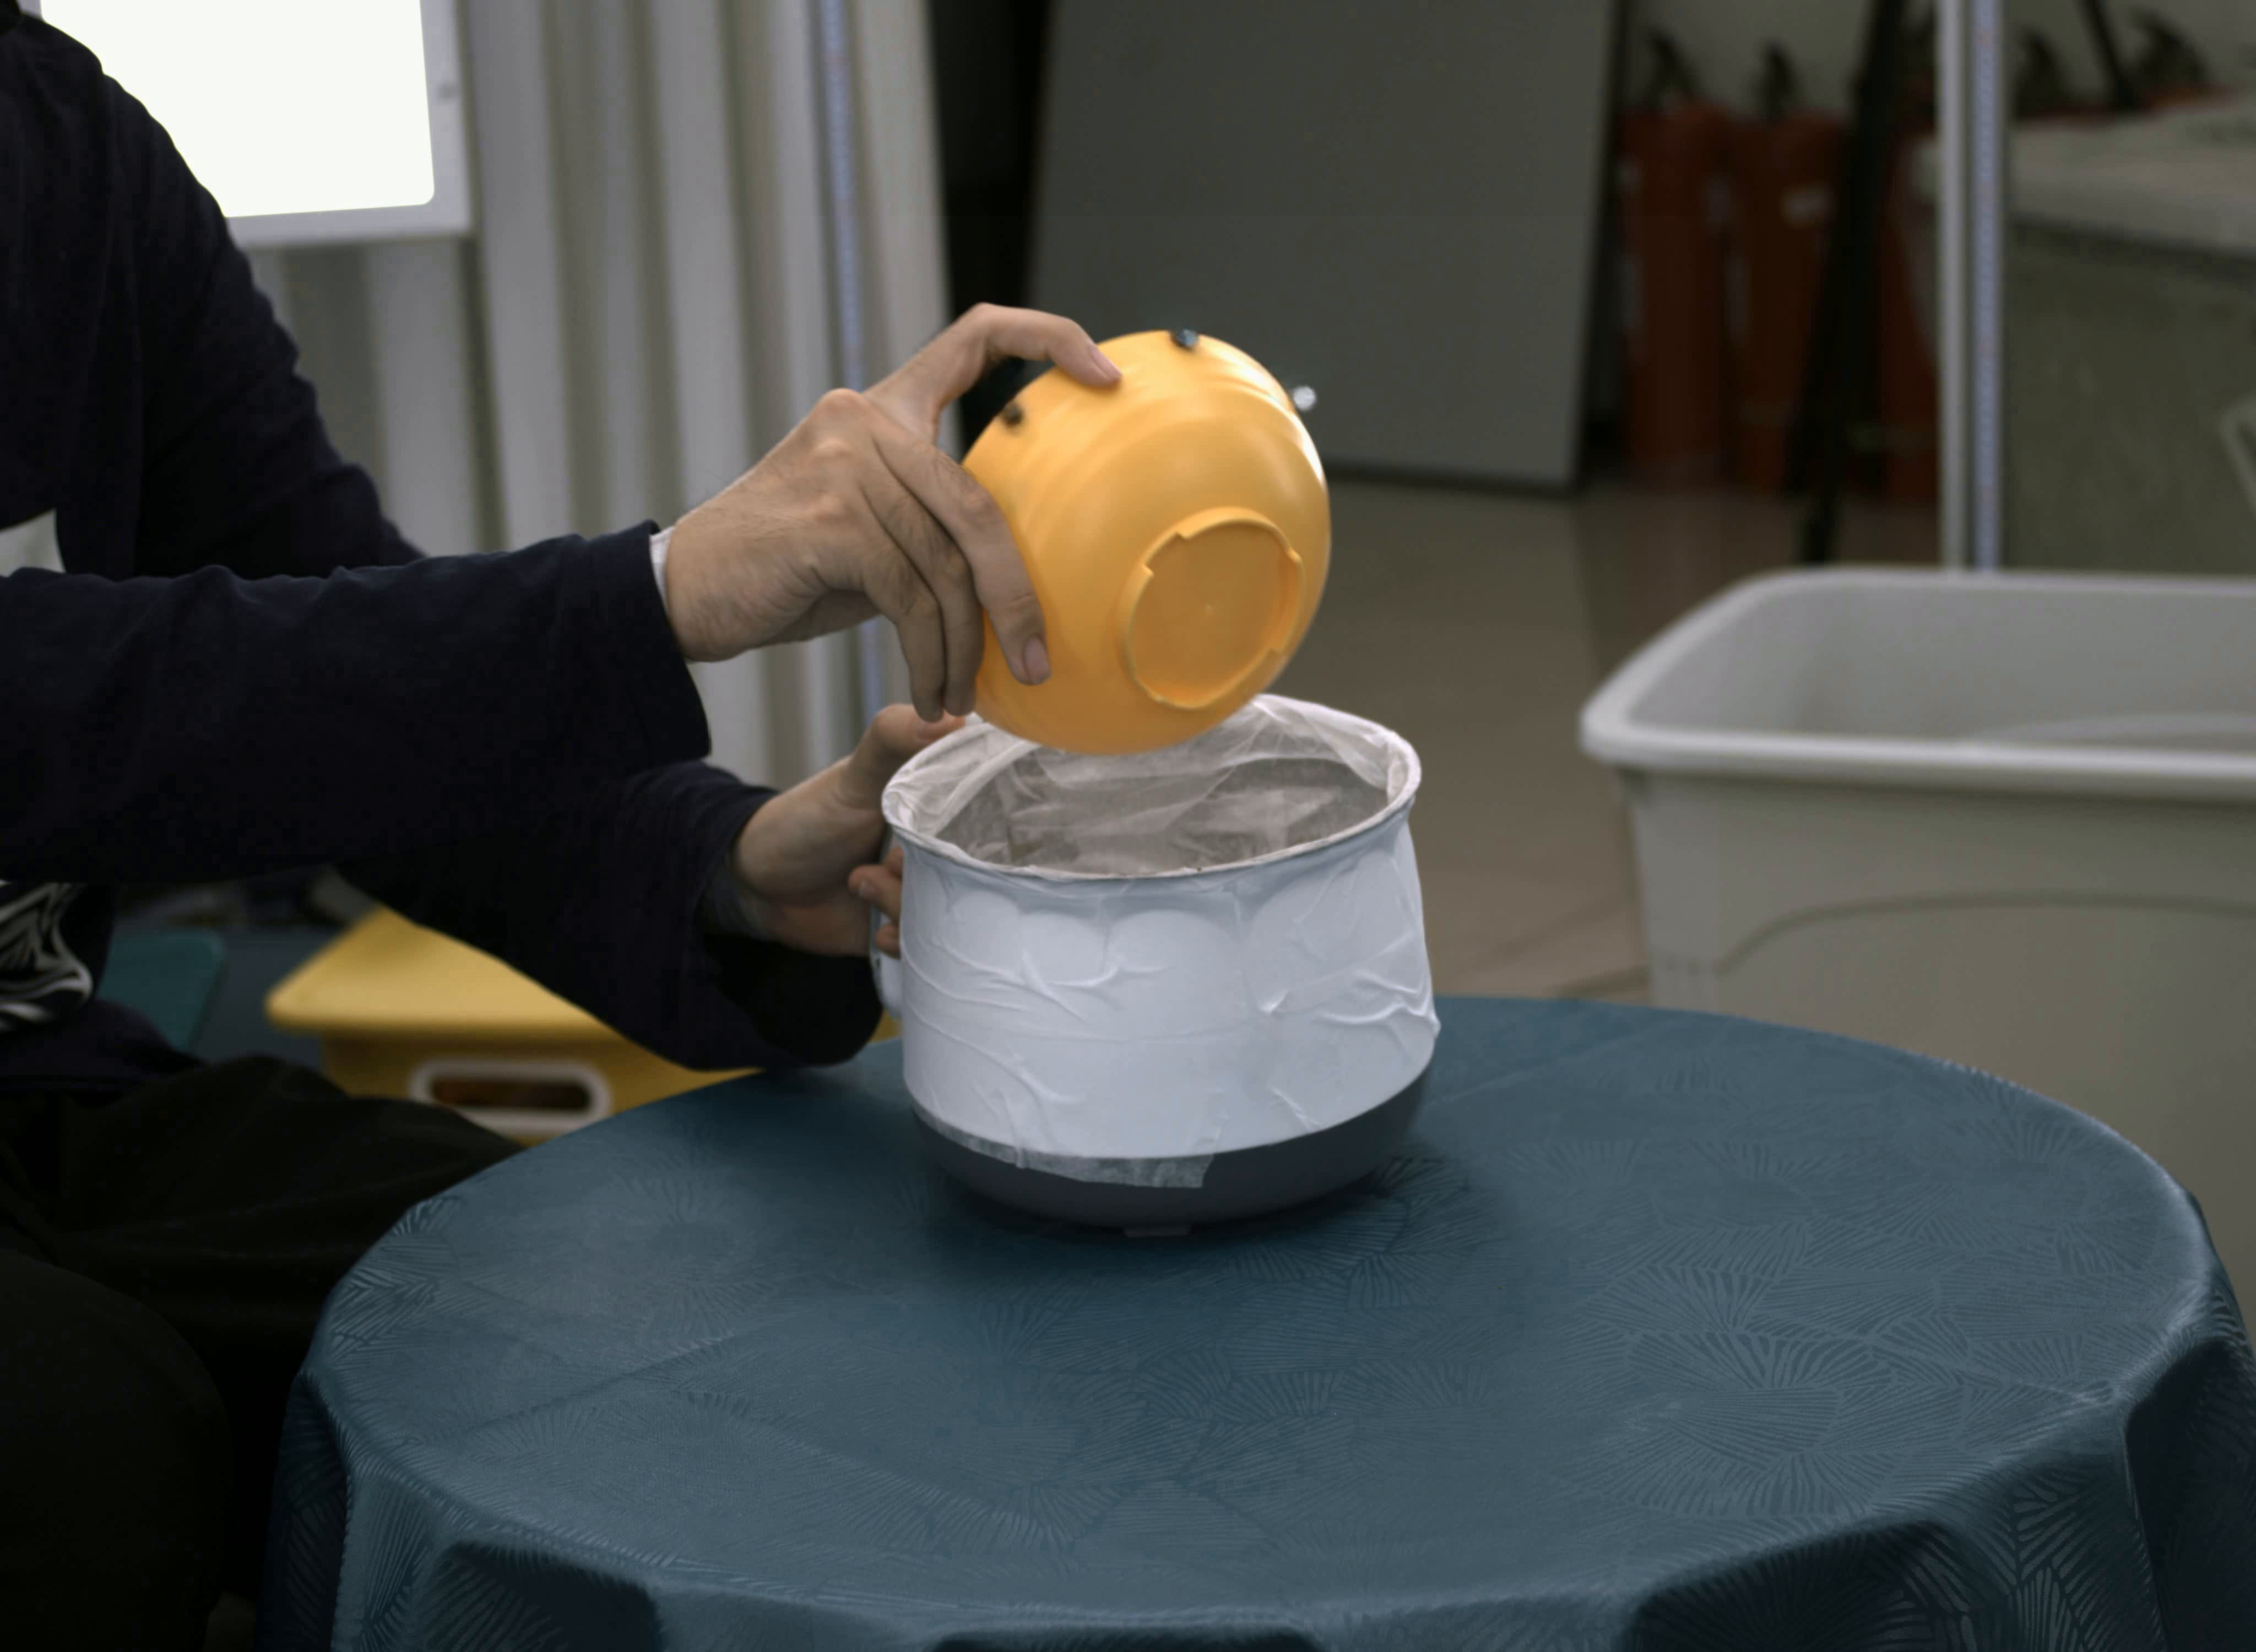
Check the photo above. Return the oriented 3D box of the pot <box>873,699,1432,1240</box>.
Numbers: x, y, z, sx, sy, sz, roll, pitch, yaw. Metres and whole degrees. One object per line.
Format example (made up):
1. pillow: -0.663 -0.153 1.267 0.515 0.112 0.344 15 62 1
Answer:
1. pot: -0.006 0.039 1.787 0.175 0.138 0.236 -16 22 -38

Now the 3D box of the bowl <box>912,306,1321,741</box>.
1. bowl: 0.008 -0.084 1.683 0.142 0.147 0.061 -11 31 -29
